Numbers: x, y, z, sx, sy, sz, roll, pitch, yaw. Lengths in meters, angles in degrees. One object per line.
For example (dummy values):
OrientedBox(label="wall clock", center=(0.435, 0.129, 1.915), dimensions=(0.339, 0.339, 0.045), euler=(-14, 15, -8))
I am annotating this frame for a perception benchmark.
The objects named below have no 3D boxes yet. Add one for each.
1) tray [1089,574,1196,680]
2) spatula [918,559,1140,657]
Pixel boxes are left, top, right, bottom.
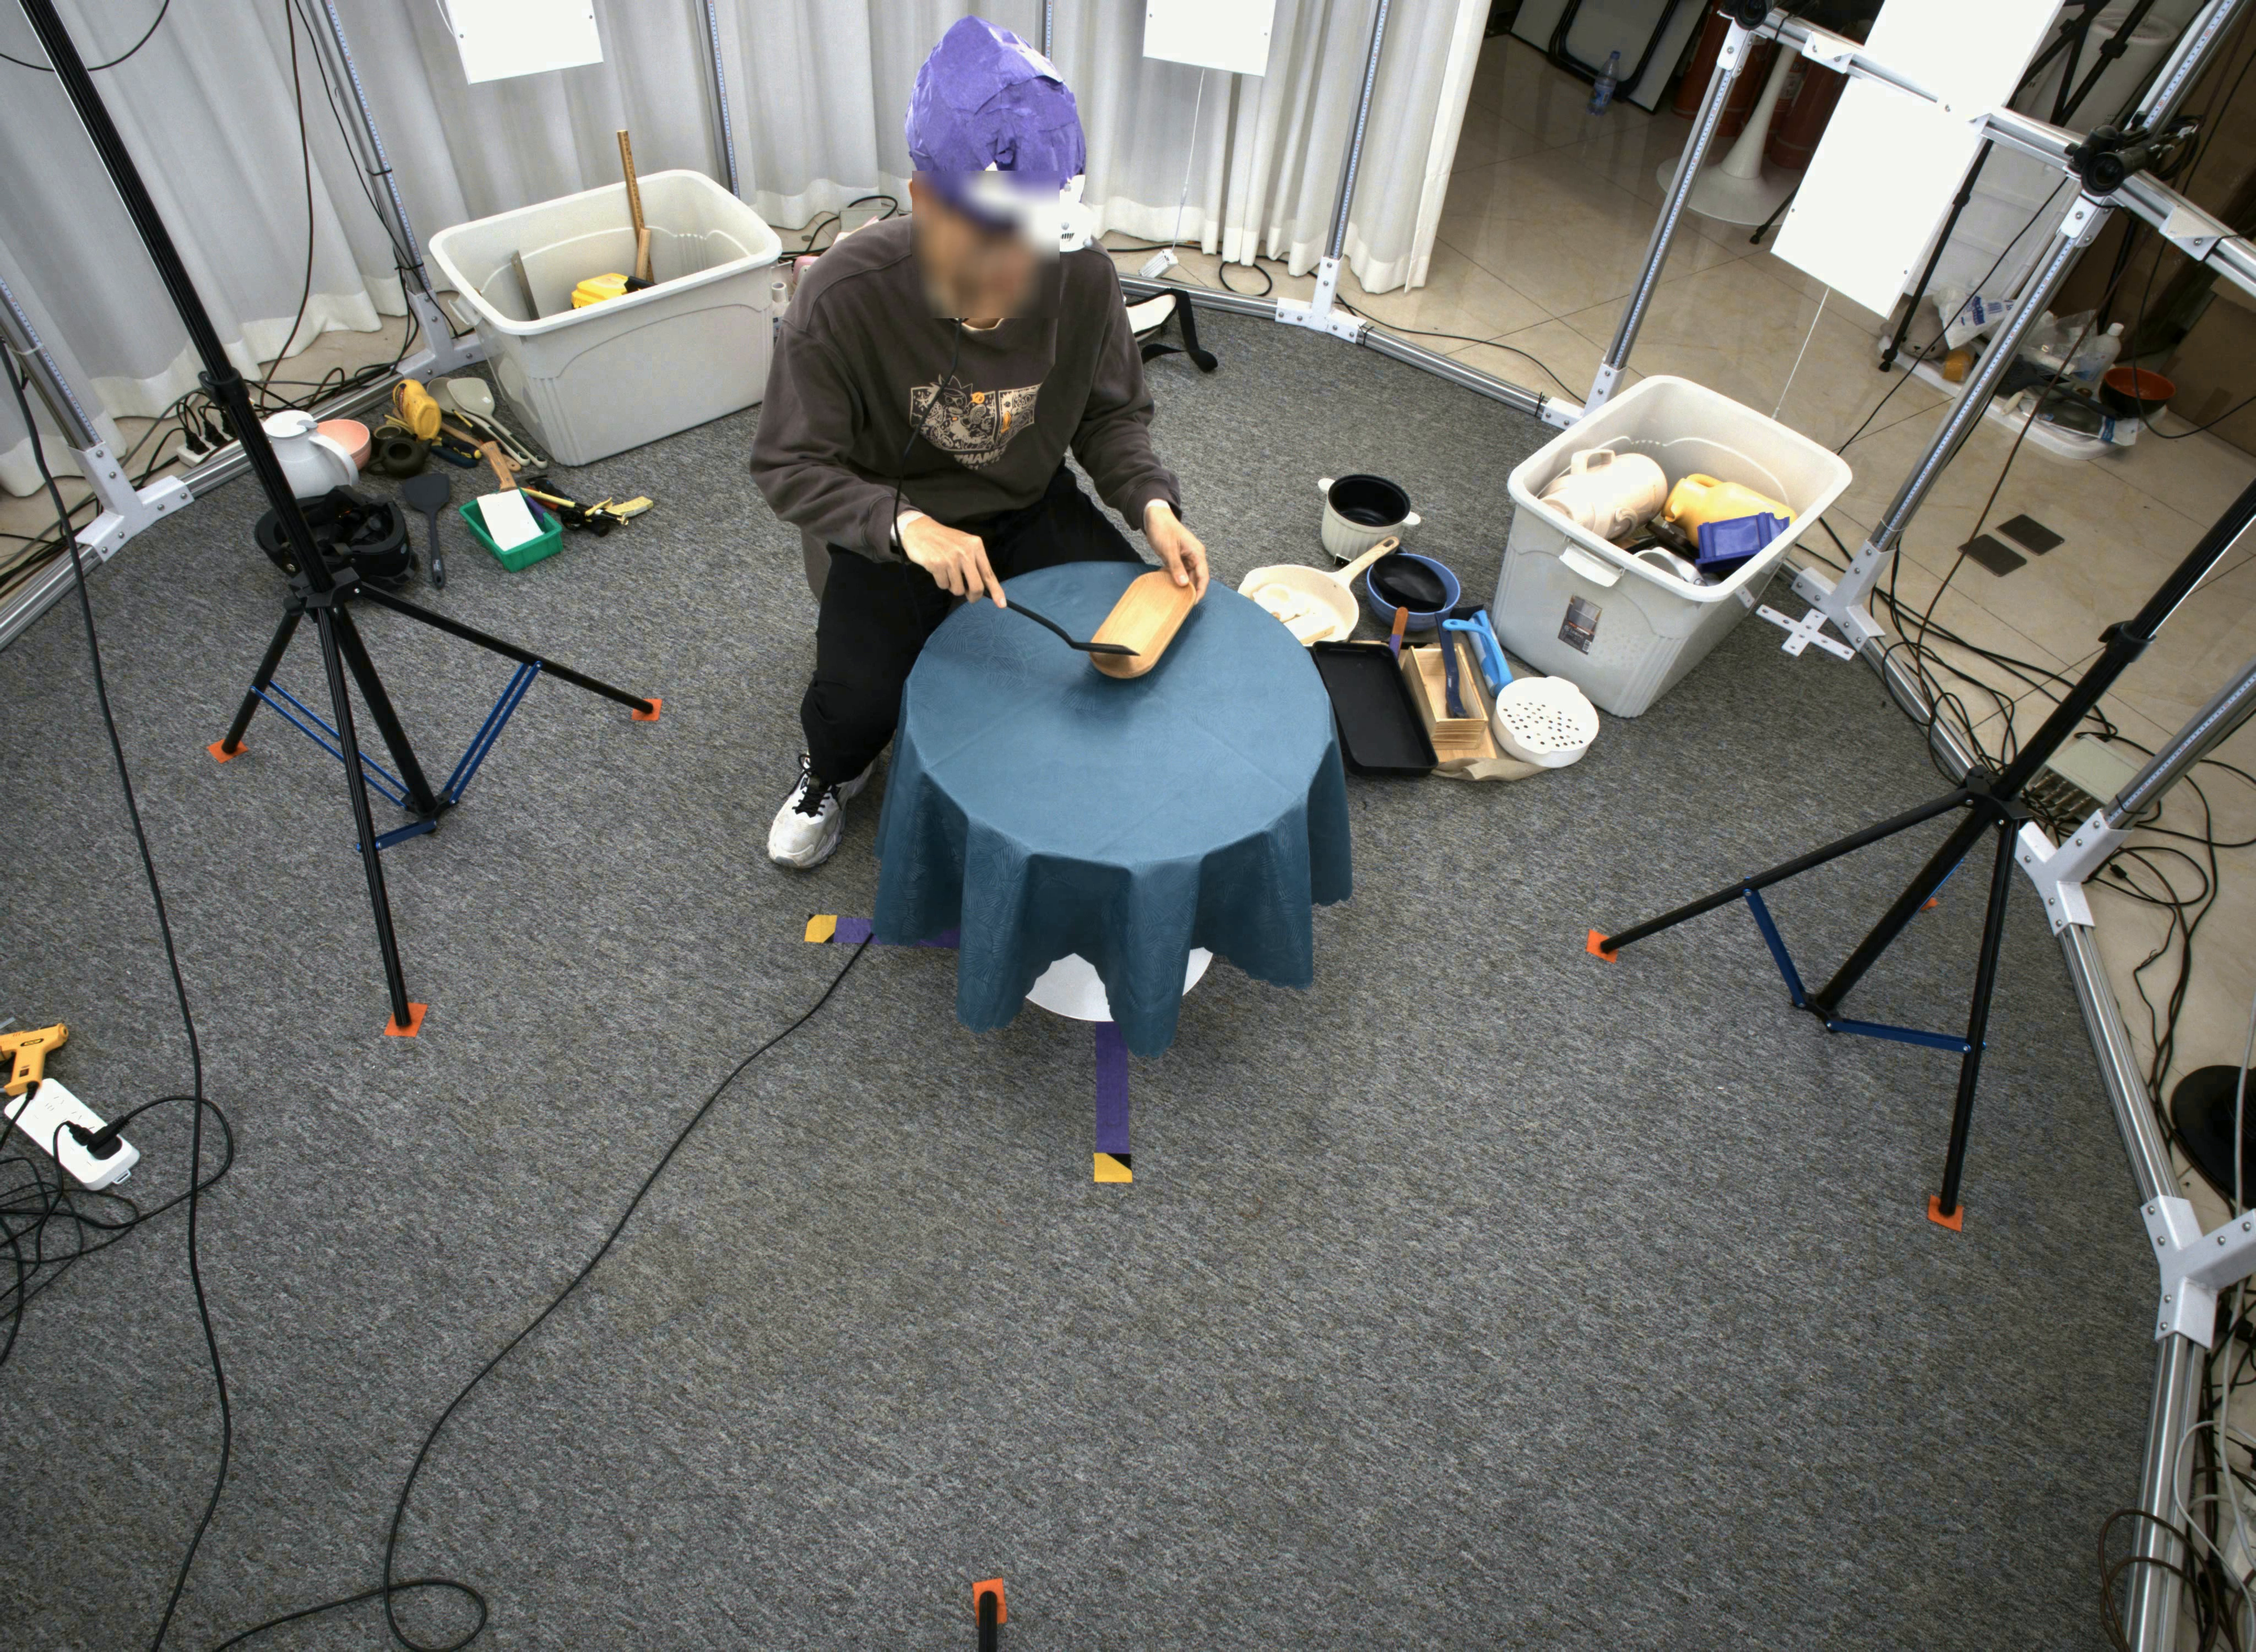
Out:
OrientedBox(label="tray", center=(0.023, -0.294, 1.885), dimensions=(0.102, 0.020, 0.235), euler=(19, 53, 18))
OrientedBox(label="spatula", center=(-0.134, -0.297, 1.771), dimensions=(0.324, 0.040, 0.100), euler=(28, 4, -13))
